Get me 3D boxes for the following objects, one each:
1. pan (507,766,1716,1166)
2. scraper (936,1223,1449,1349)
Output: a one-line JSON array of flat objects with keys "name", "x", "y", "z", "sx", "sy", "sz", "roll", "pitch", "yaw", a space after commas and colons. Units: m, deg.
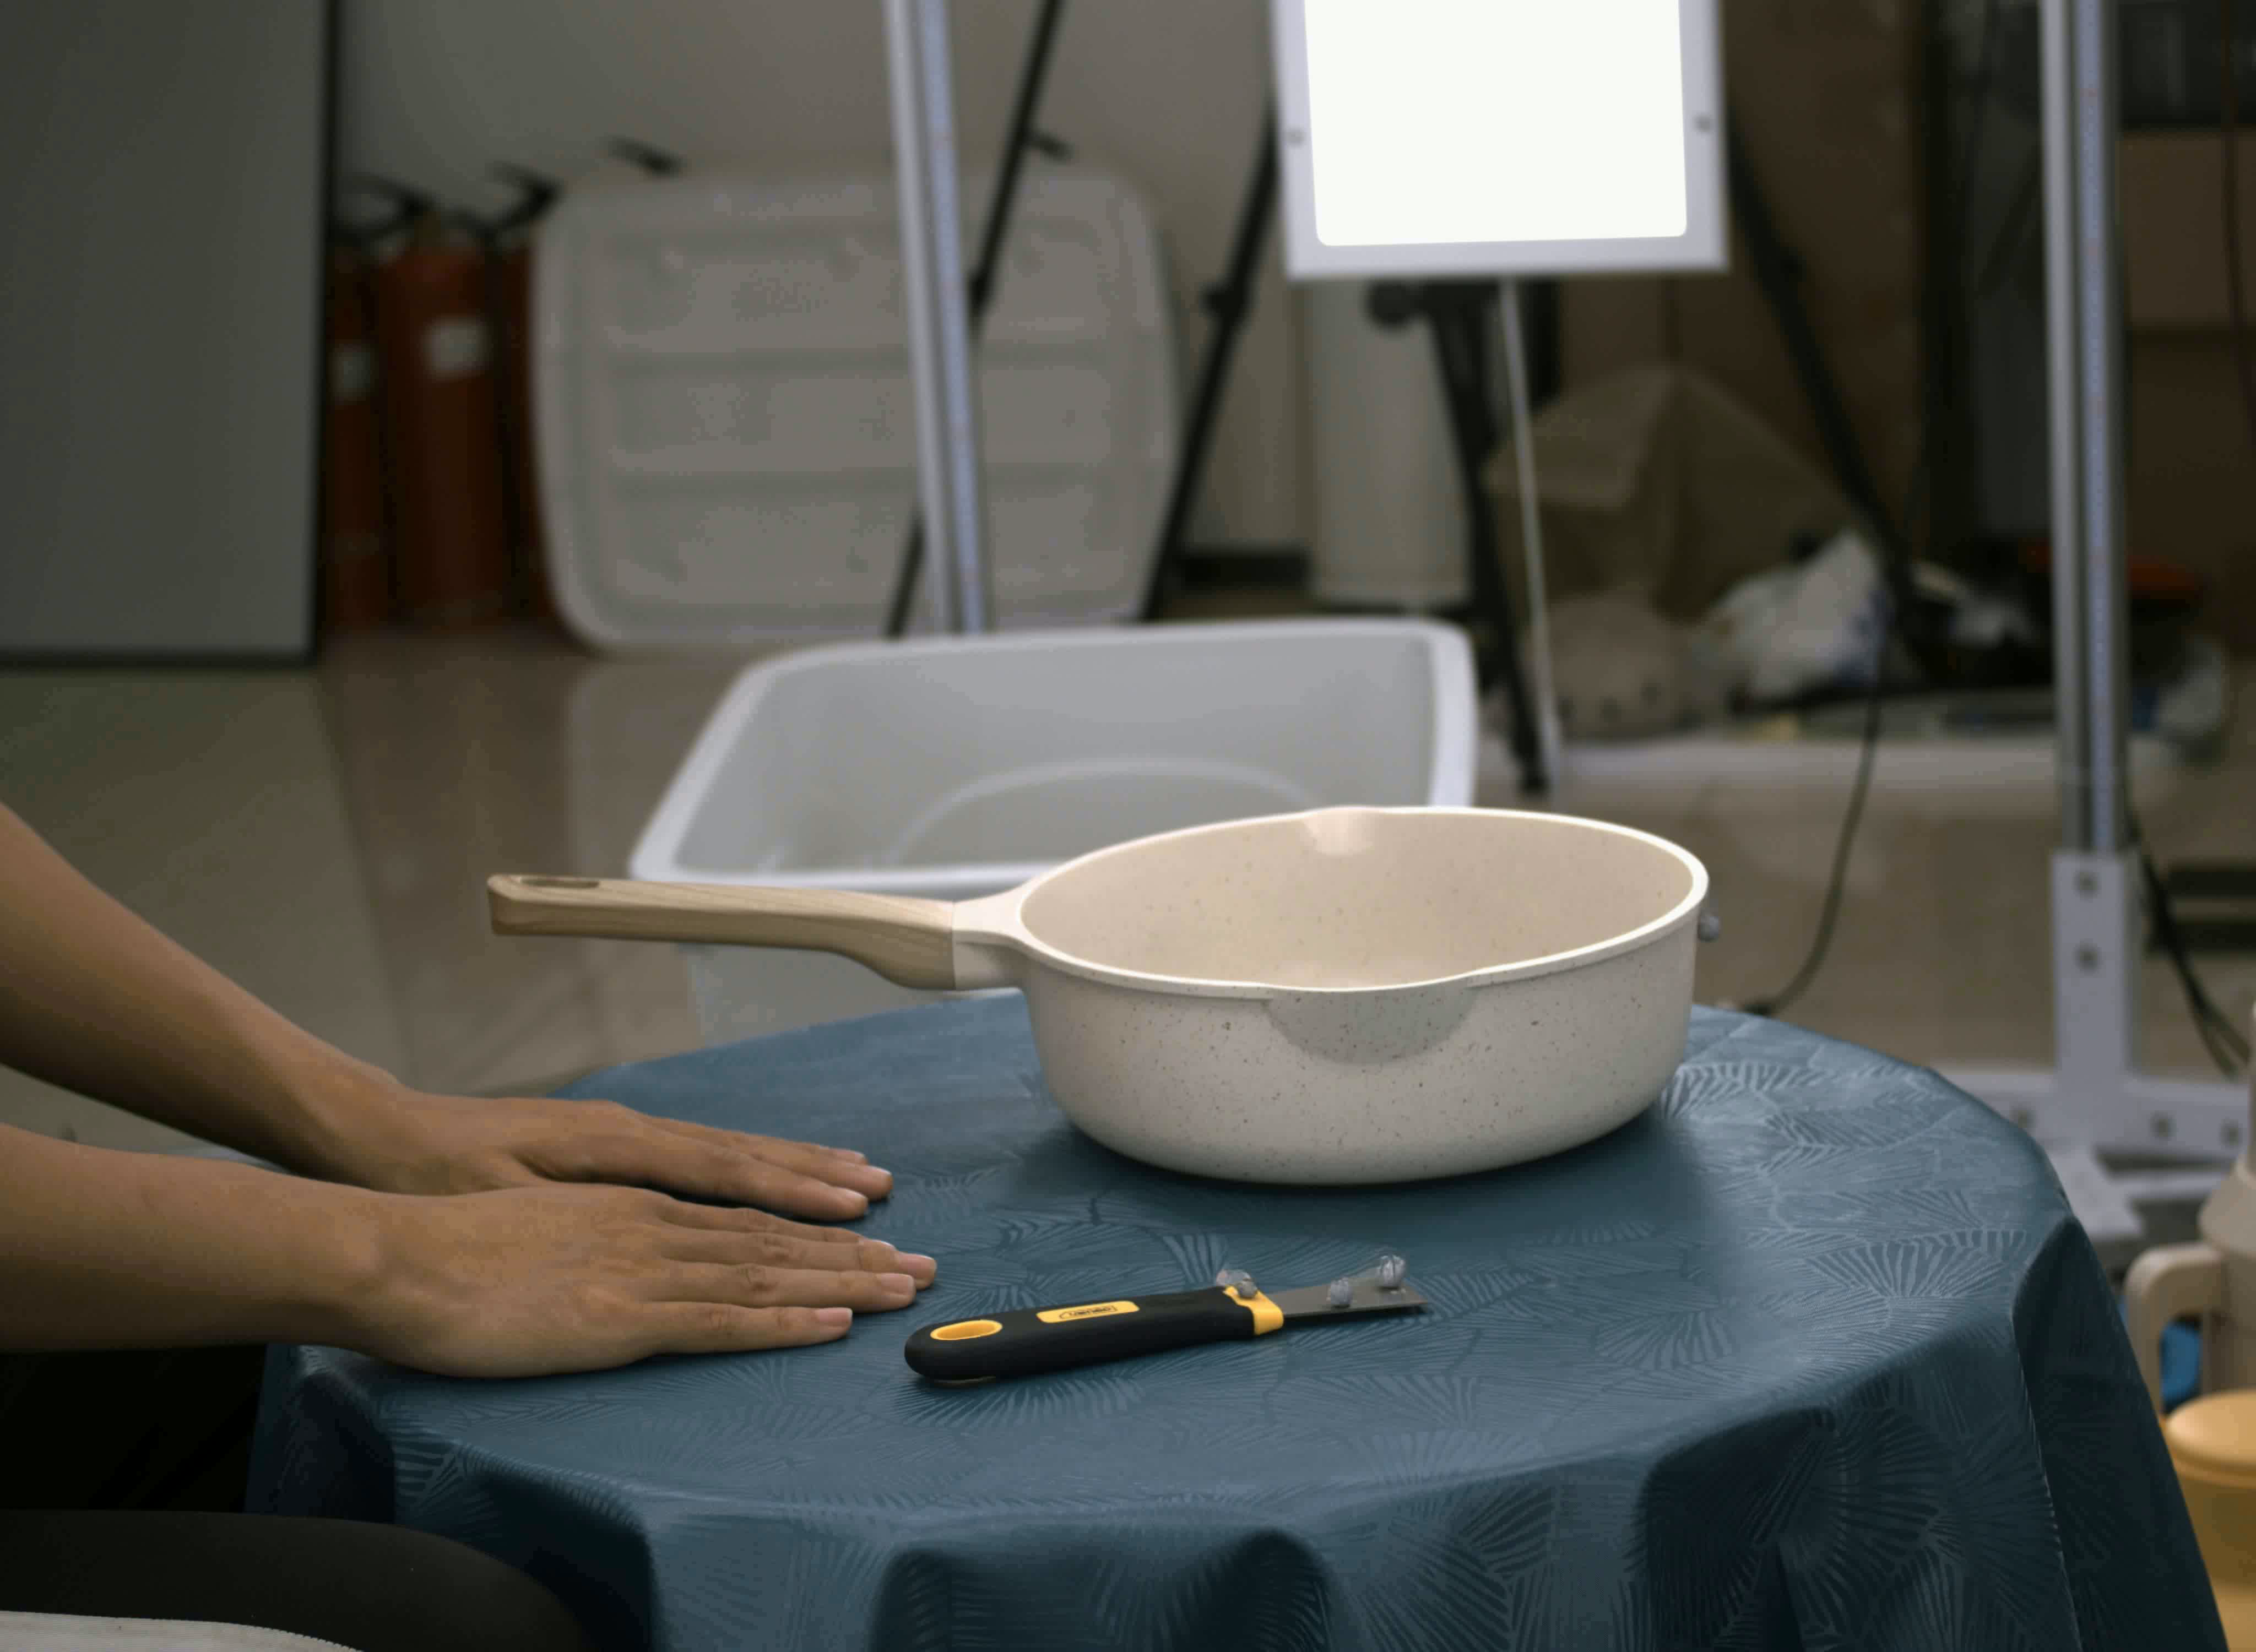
[{"name": "pan", "x": -0.003, "y": 0.052, "z": 1.987, "sx": 0.435, "sy": 0.102, "sz": 0.262, "roll": -5, "pitch": 16, "yaw": 3}, {"name": "scraper", "x": 0.020, "y": 0.146, "z": 1.750, "sx": 0.168, "sy": 0.015, "sz": 0.039, "roll": -7, "pitch": 17, "yaw": -19}]
